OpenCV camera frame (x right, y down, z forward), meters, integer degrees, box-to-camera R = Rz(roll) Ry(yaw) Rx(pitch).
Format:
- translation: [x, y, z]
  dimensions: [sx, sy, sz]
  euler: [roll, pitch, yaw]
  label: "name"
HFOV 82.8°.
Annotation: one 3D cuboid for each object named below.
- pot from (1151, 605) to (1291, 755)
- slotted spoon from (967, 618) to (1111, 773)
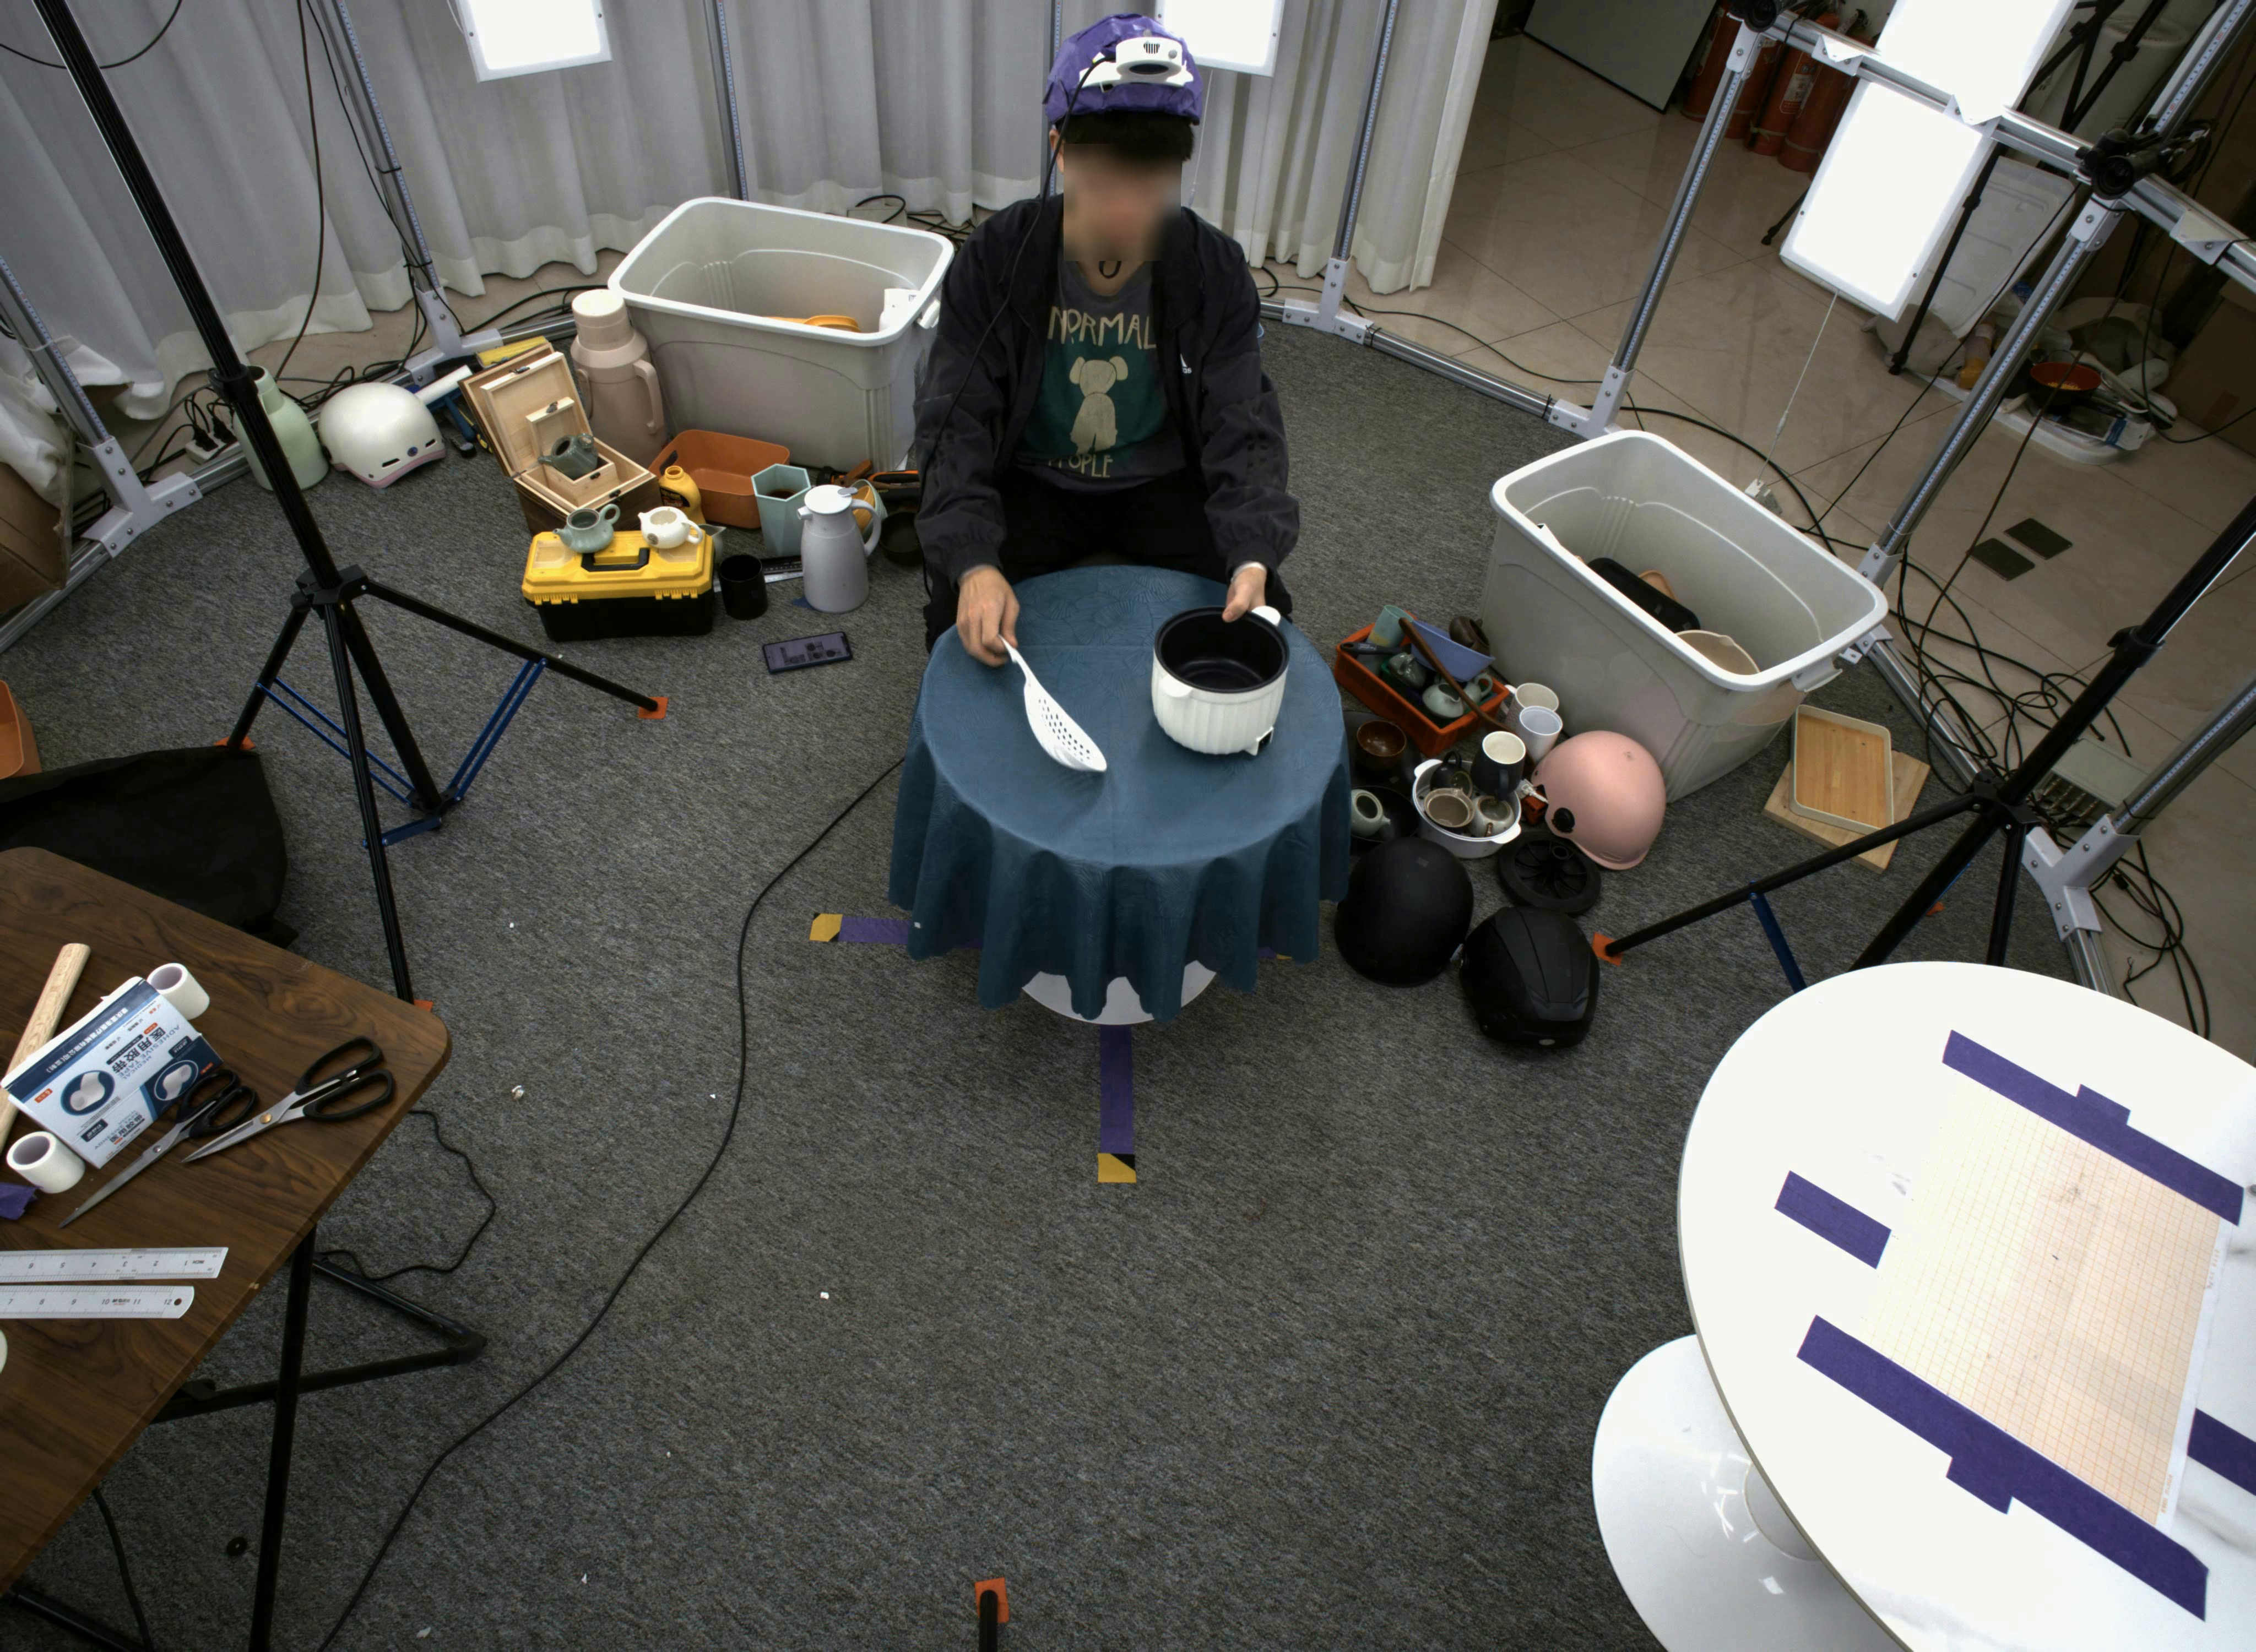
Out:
- translation: [0.117, -0.194, 1.749]
  dimensions: [0.193, 0.139, 0.243]
  euler: [34, 52, 22]
  label: "pot"
- translation: [-0.136, -0.187, 1.765]
  dimensions: [0.135, 0.050, 0.356]
  euler: [23, 29, -49]
  label: "slotted spoon"
